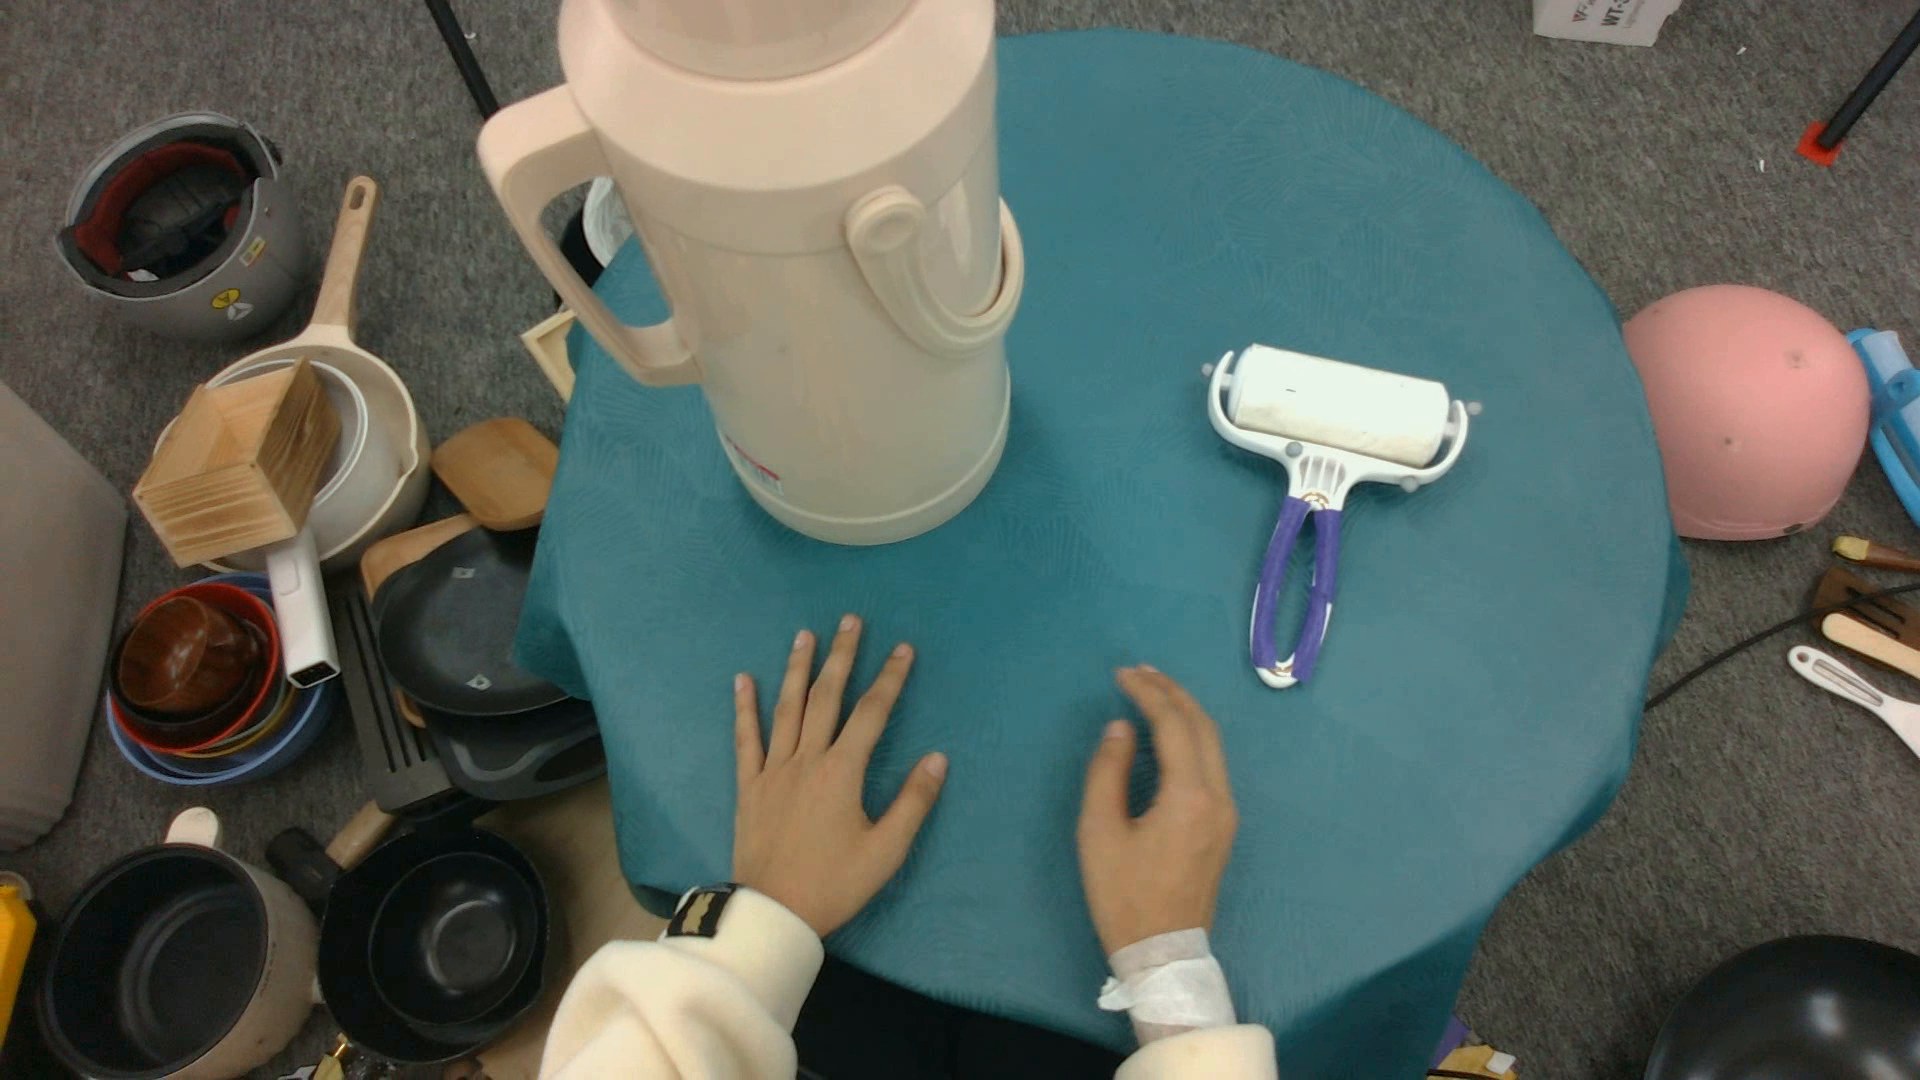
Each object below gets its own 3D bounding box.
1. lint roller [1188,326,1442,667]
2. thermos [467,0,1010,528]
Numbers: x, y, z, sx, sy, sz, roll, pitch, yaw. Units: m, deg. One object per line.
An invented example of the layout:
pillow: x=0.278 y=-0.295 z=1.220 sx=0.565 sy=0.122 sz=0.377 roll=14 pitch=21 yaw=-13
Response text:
lint roller: x=0.169 y=-0.024 z=0.709 sx=0.133 sy=0.050 sz=0.181 roll=16 pitch=65 yaw=7
thermos: x=-0.080 y=-0.151 z=0.582 sx=0.207 sy=0.405 sz=0.175 roll=-26 pitch=69 yaw=-9
